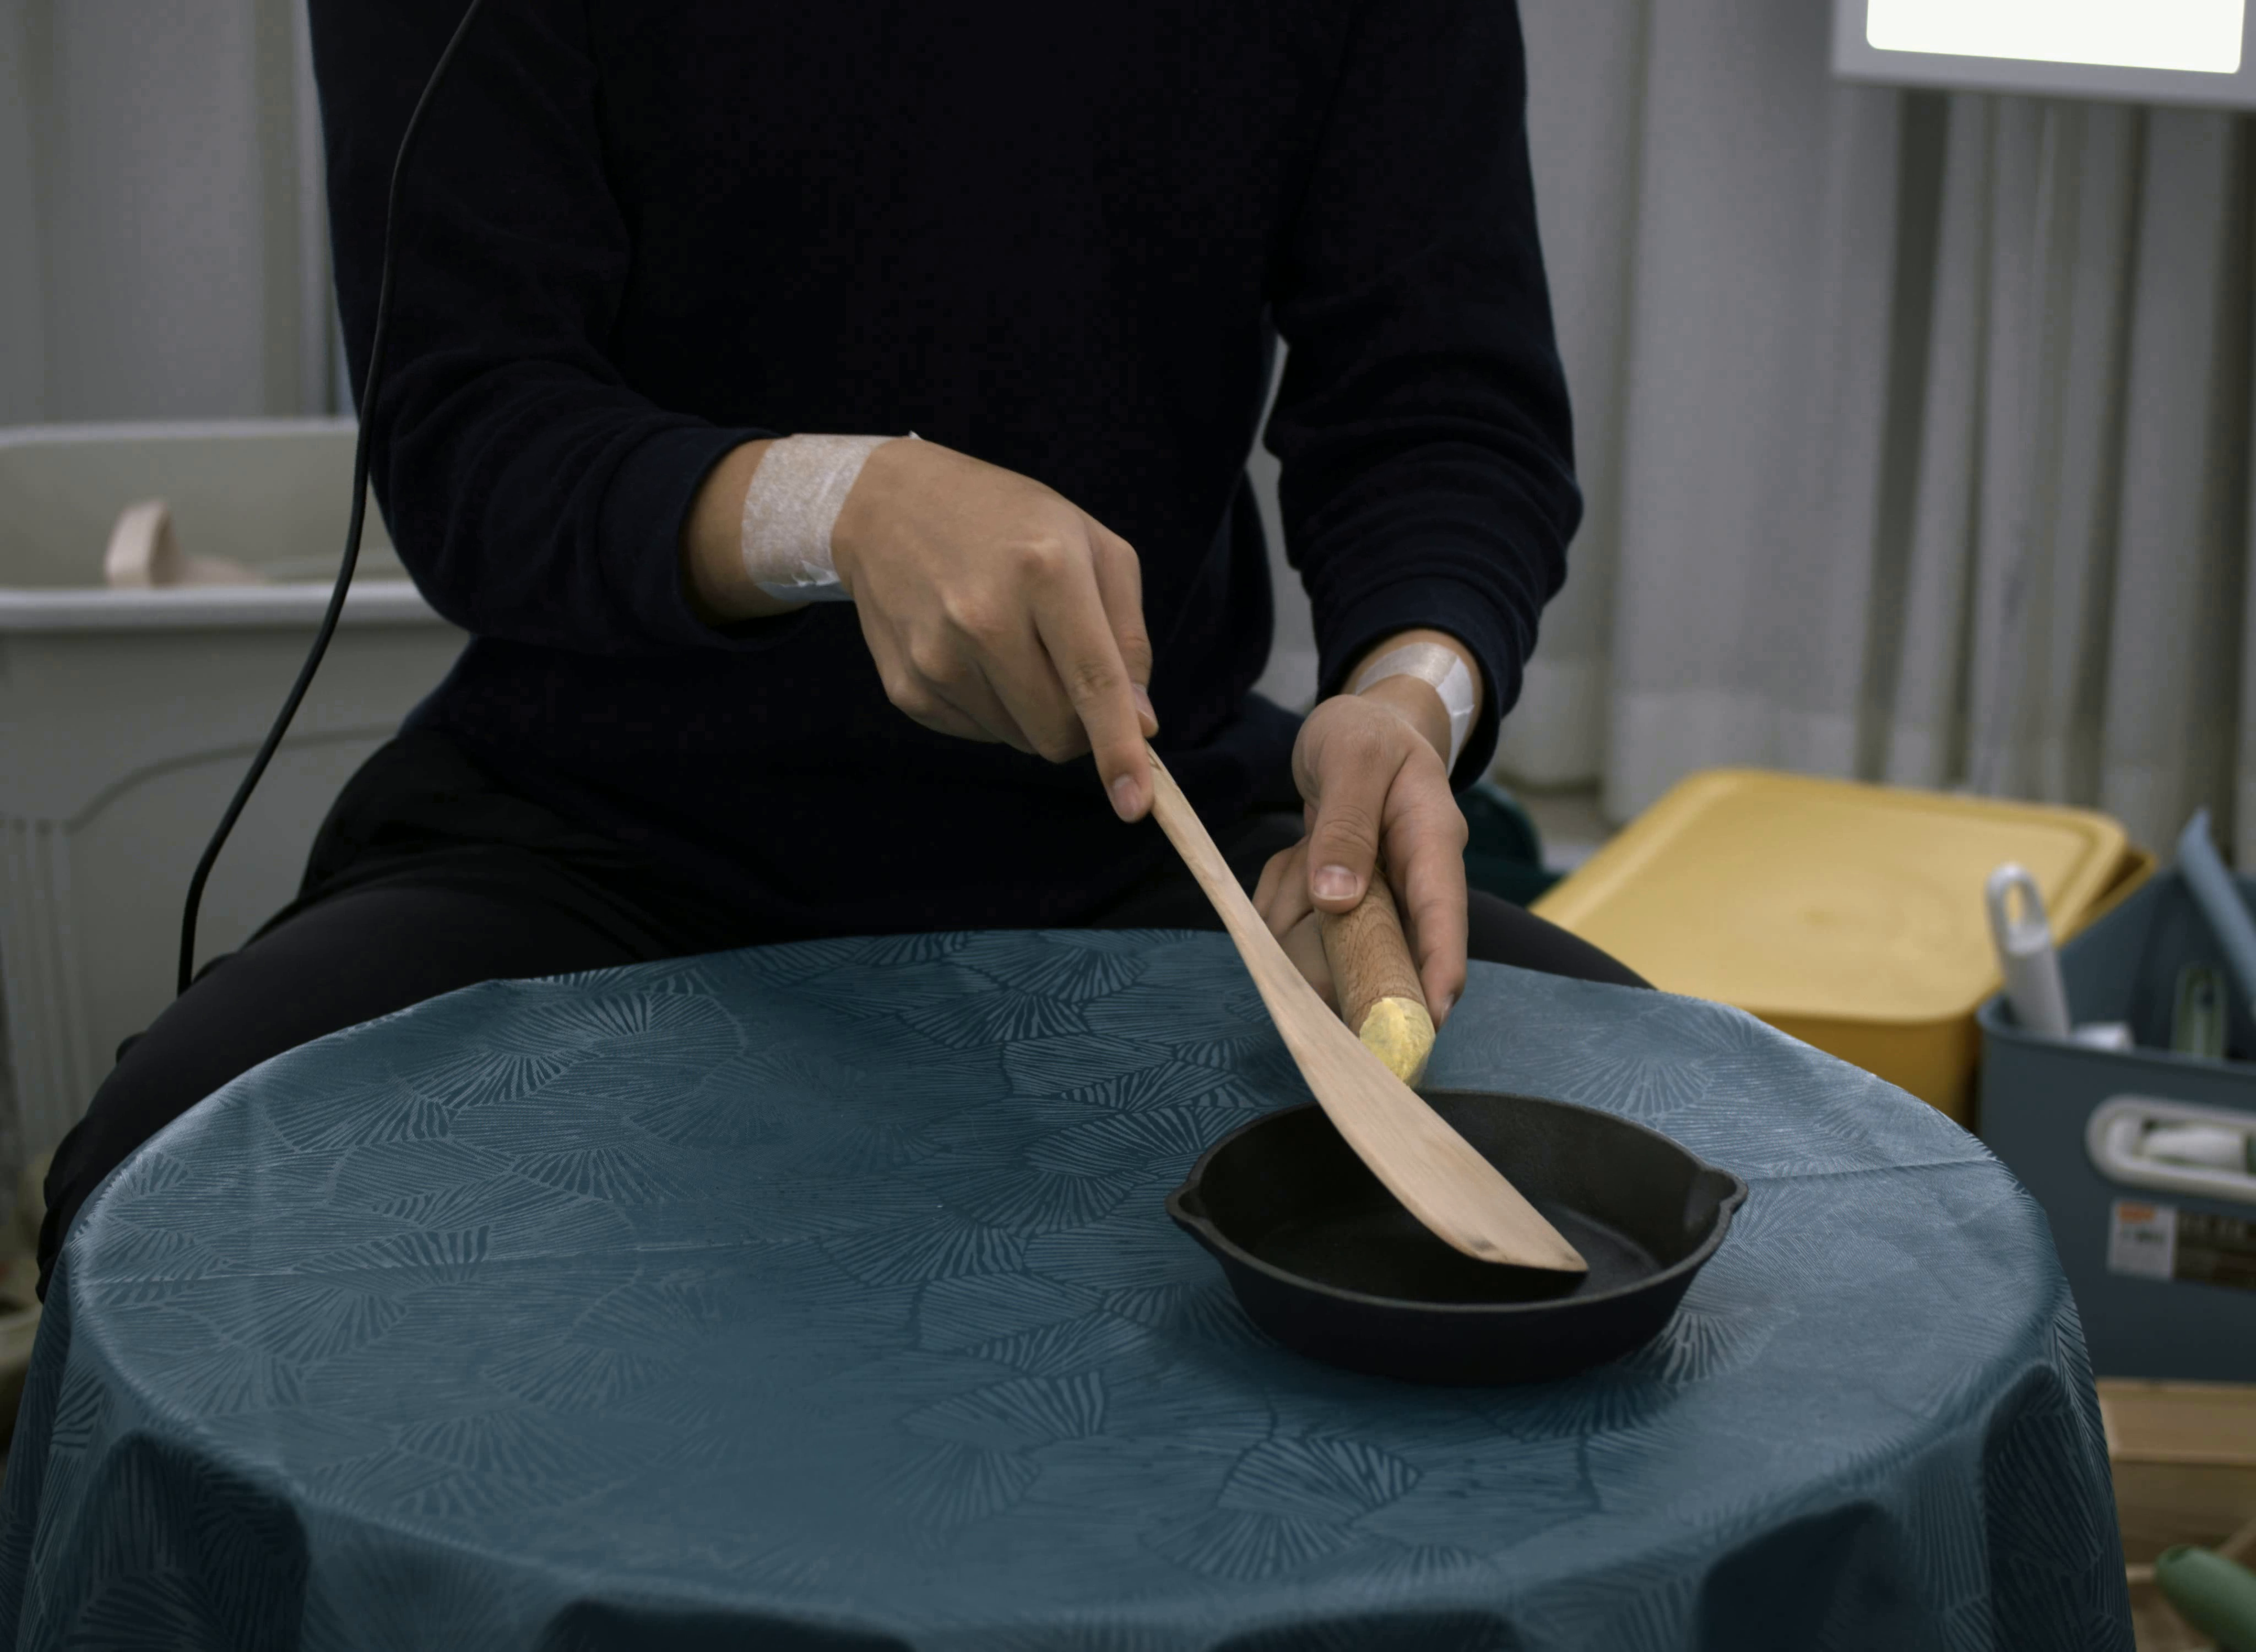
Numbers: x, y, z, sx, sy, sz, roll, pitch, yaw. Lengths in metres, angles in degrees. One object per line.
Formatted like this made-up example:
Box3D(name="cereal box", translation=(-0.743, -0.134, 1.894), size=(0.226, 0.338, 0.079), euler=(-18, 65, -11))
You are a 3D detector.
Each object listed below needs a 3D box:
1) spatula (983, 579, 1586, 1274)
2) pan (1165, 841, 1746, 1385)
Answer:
Box3D(name="spatula", translation=(0.038, 0.027, 1.598), size=(0.081, 0.016, 0.323), euler=(20, 27, -49))
Box3D(name="pan", translation=(0.088, 0.083, 1.596), size=(0.168, 0.050, 0.321), euler=(-1, 22, -4))
